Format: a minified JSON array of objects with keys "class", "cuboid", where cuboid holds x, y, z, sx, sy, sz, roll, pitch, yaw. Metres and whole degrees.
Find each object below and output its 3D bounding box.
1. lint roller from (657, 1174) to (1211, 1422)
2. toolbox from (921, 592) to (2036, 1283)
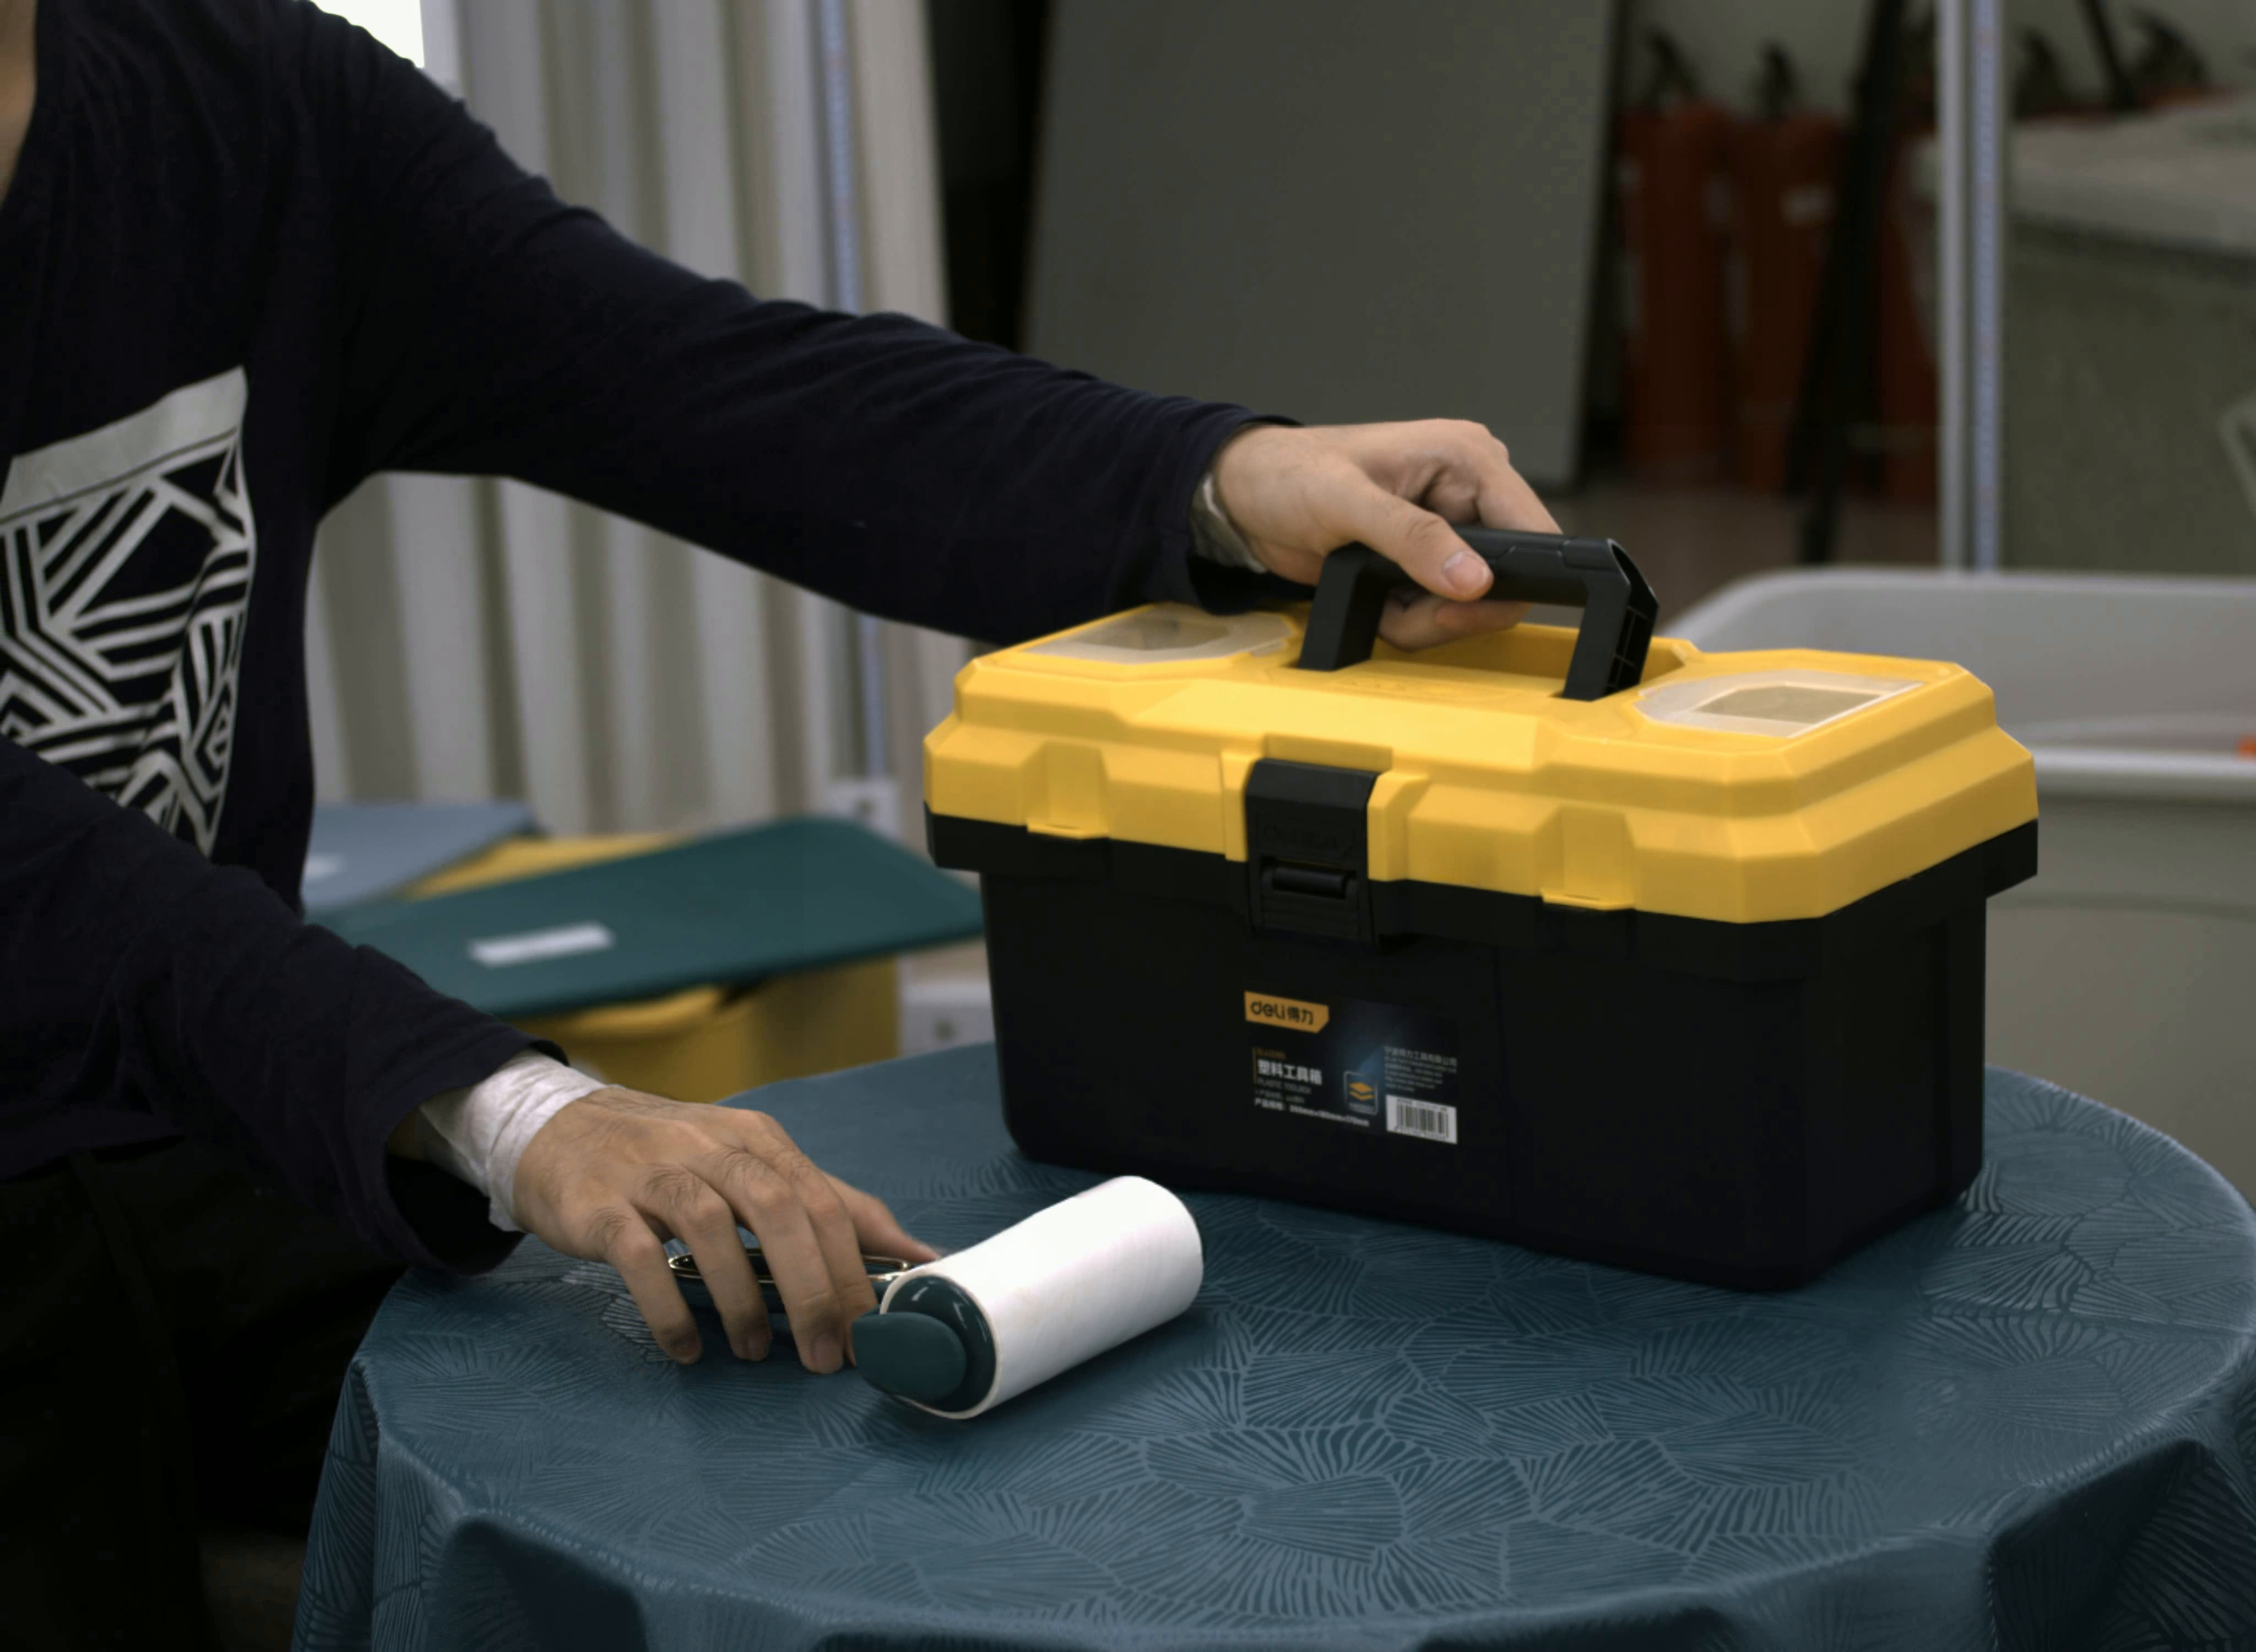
[{"class":"lint roller","cuboid":[-0.077,0.138,1.646,0.181,0.049,0.132,2,15,39]},{"class":"toolbox","cuboid":[0.109,0.030,1.746,0.354,0.175,0.178,6,16,39]}]
